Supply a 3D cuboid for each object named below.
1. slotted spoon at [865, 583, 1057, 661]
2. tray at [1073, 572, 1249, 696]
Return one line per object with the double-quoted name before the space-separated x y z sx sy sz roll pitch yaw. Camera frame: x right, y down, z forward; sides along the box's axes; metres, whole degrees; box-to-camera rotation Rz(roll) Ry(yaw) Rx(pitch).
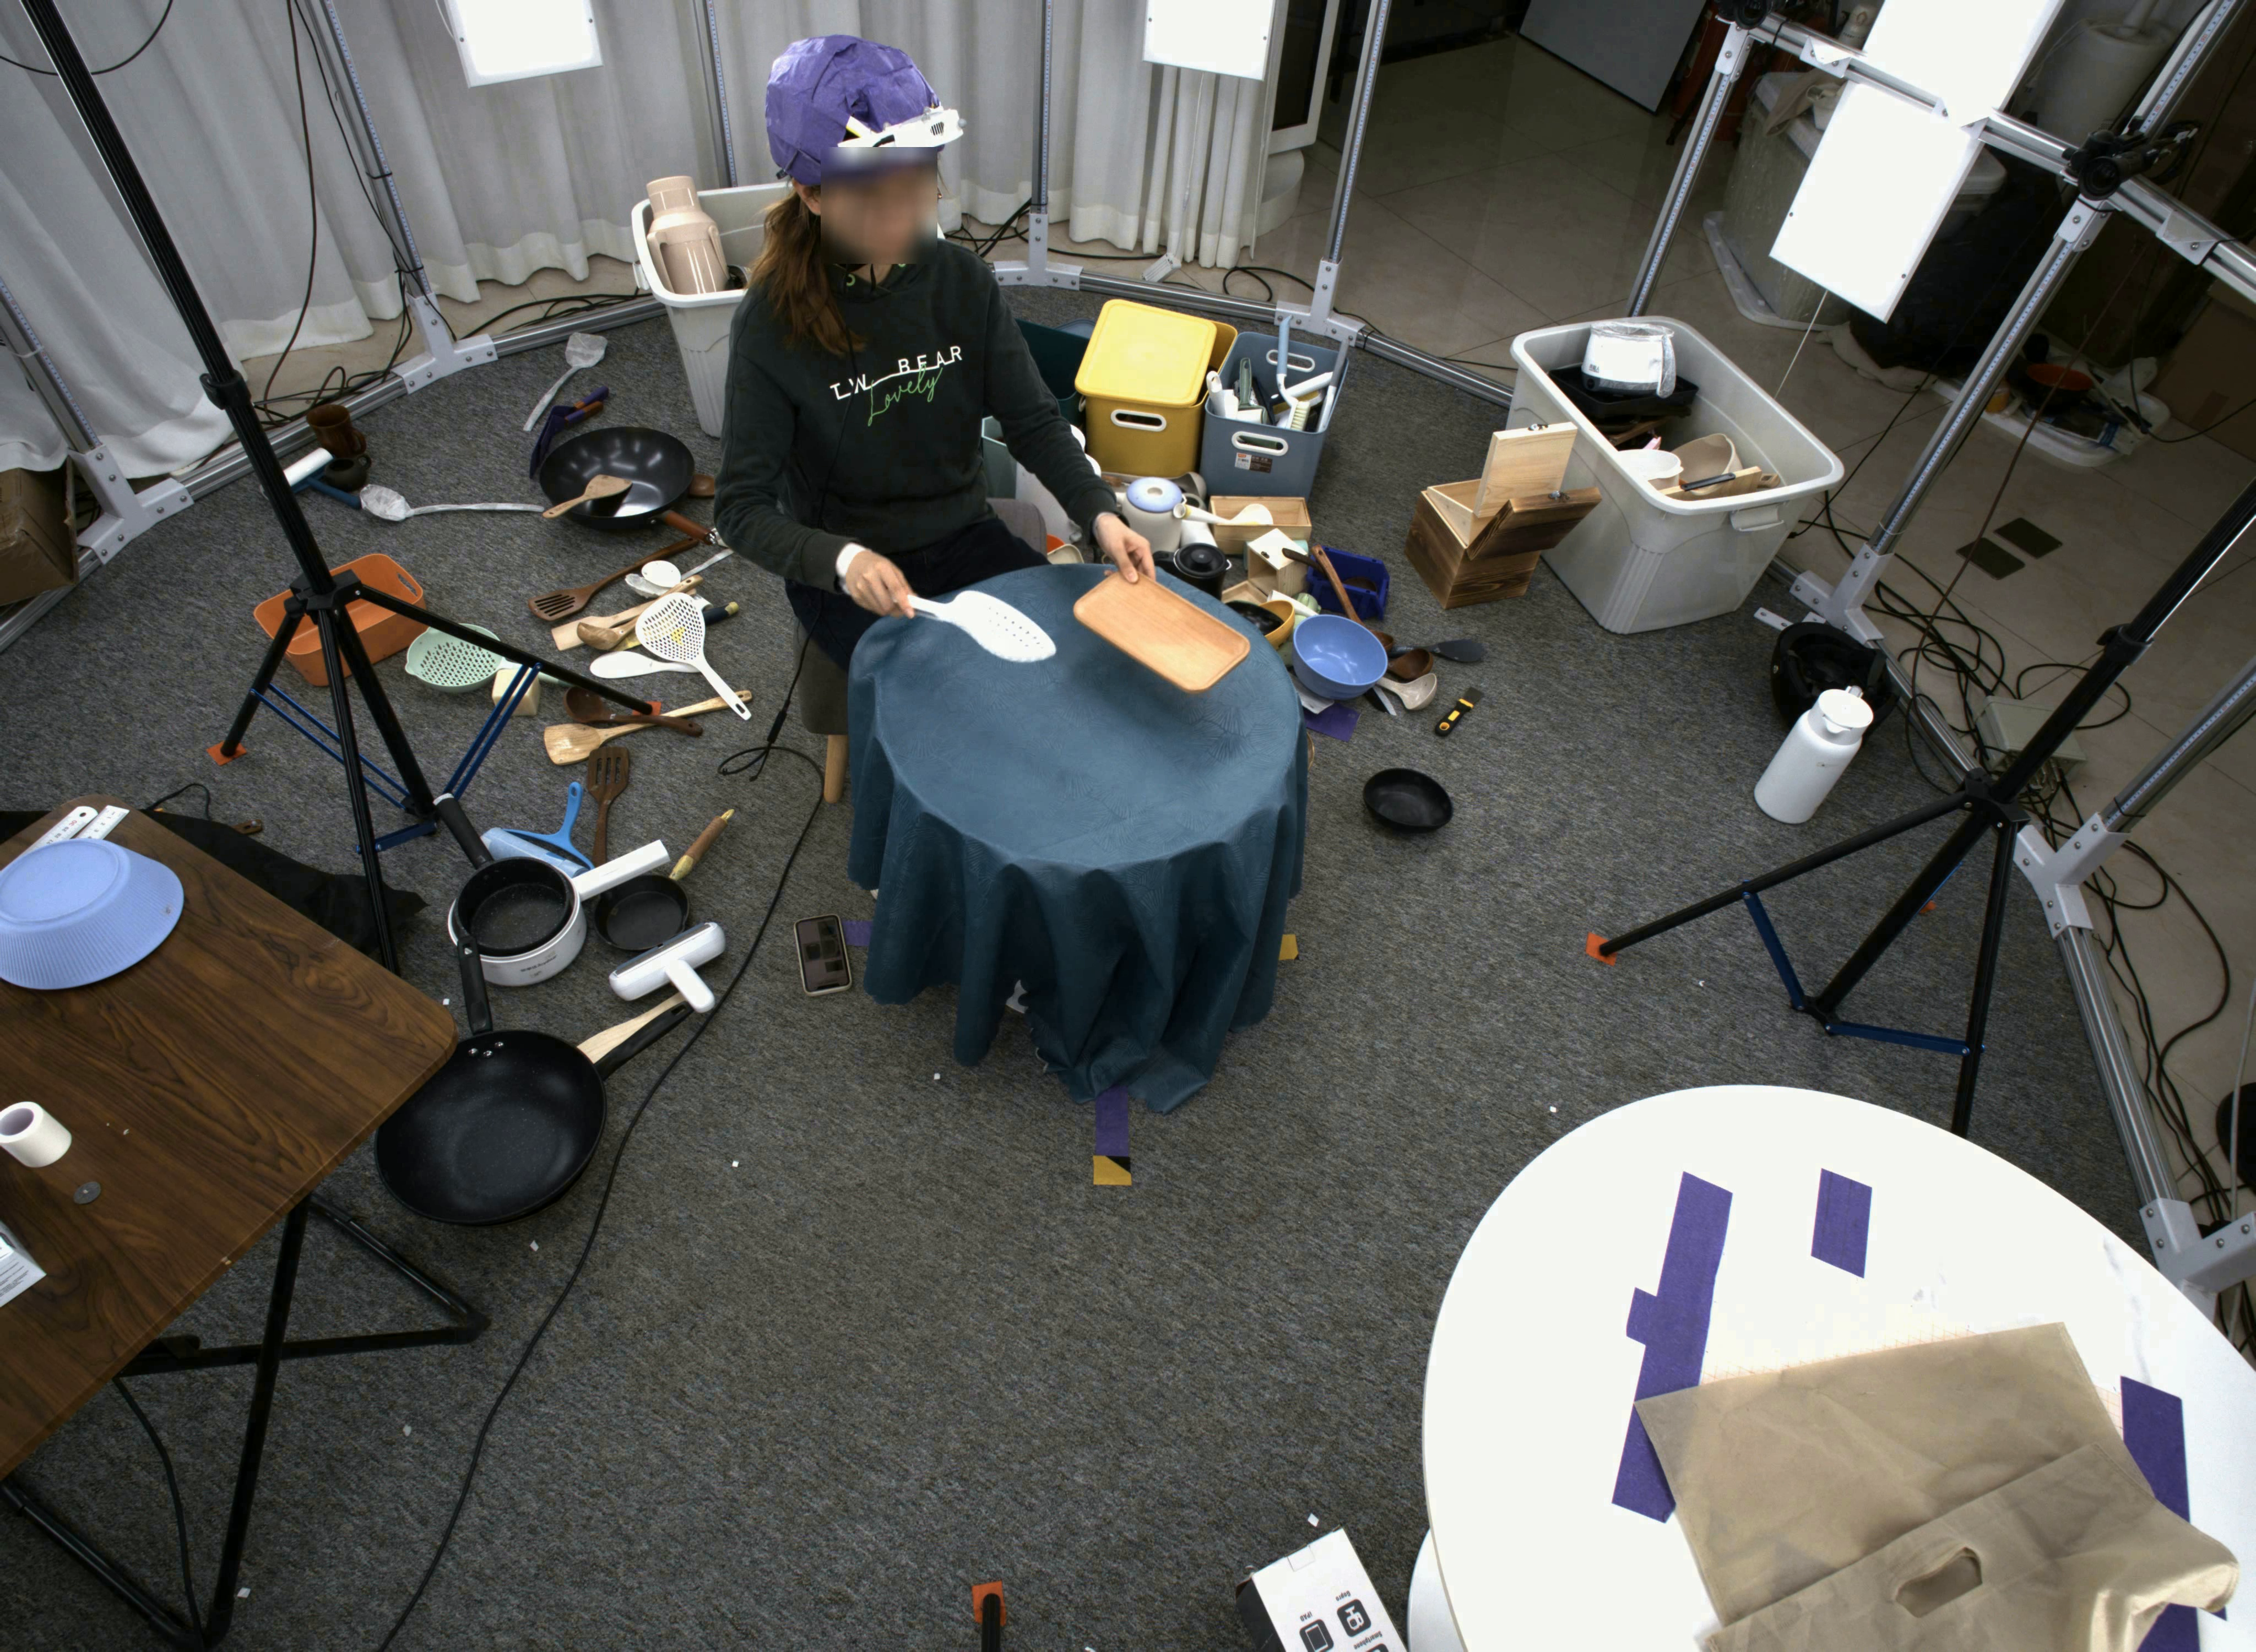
"slotted spoon" -0.228 -0.274 1.658 0.355 0.133 0.046 27 82 42
"tray" 0.045 -0.272 1.802 0.254 0.022 0.132 36 60 29
